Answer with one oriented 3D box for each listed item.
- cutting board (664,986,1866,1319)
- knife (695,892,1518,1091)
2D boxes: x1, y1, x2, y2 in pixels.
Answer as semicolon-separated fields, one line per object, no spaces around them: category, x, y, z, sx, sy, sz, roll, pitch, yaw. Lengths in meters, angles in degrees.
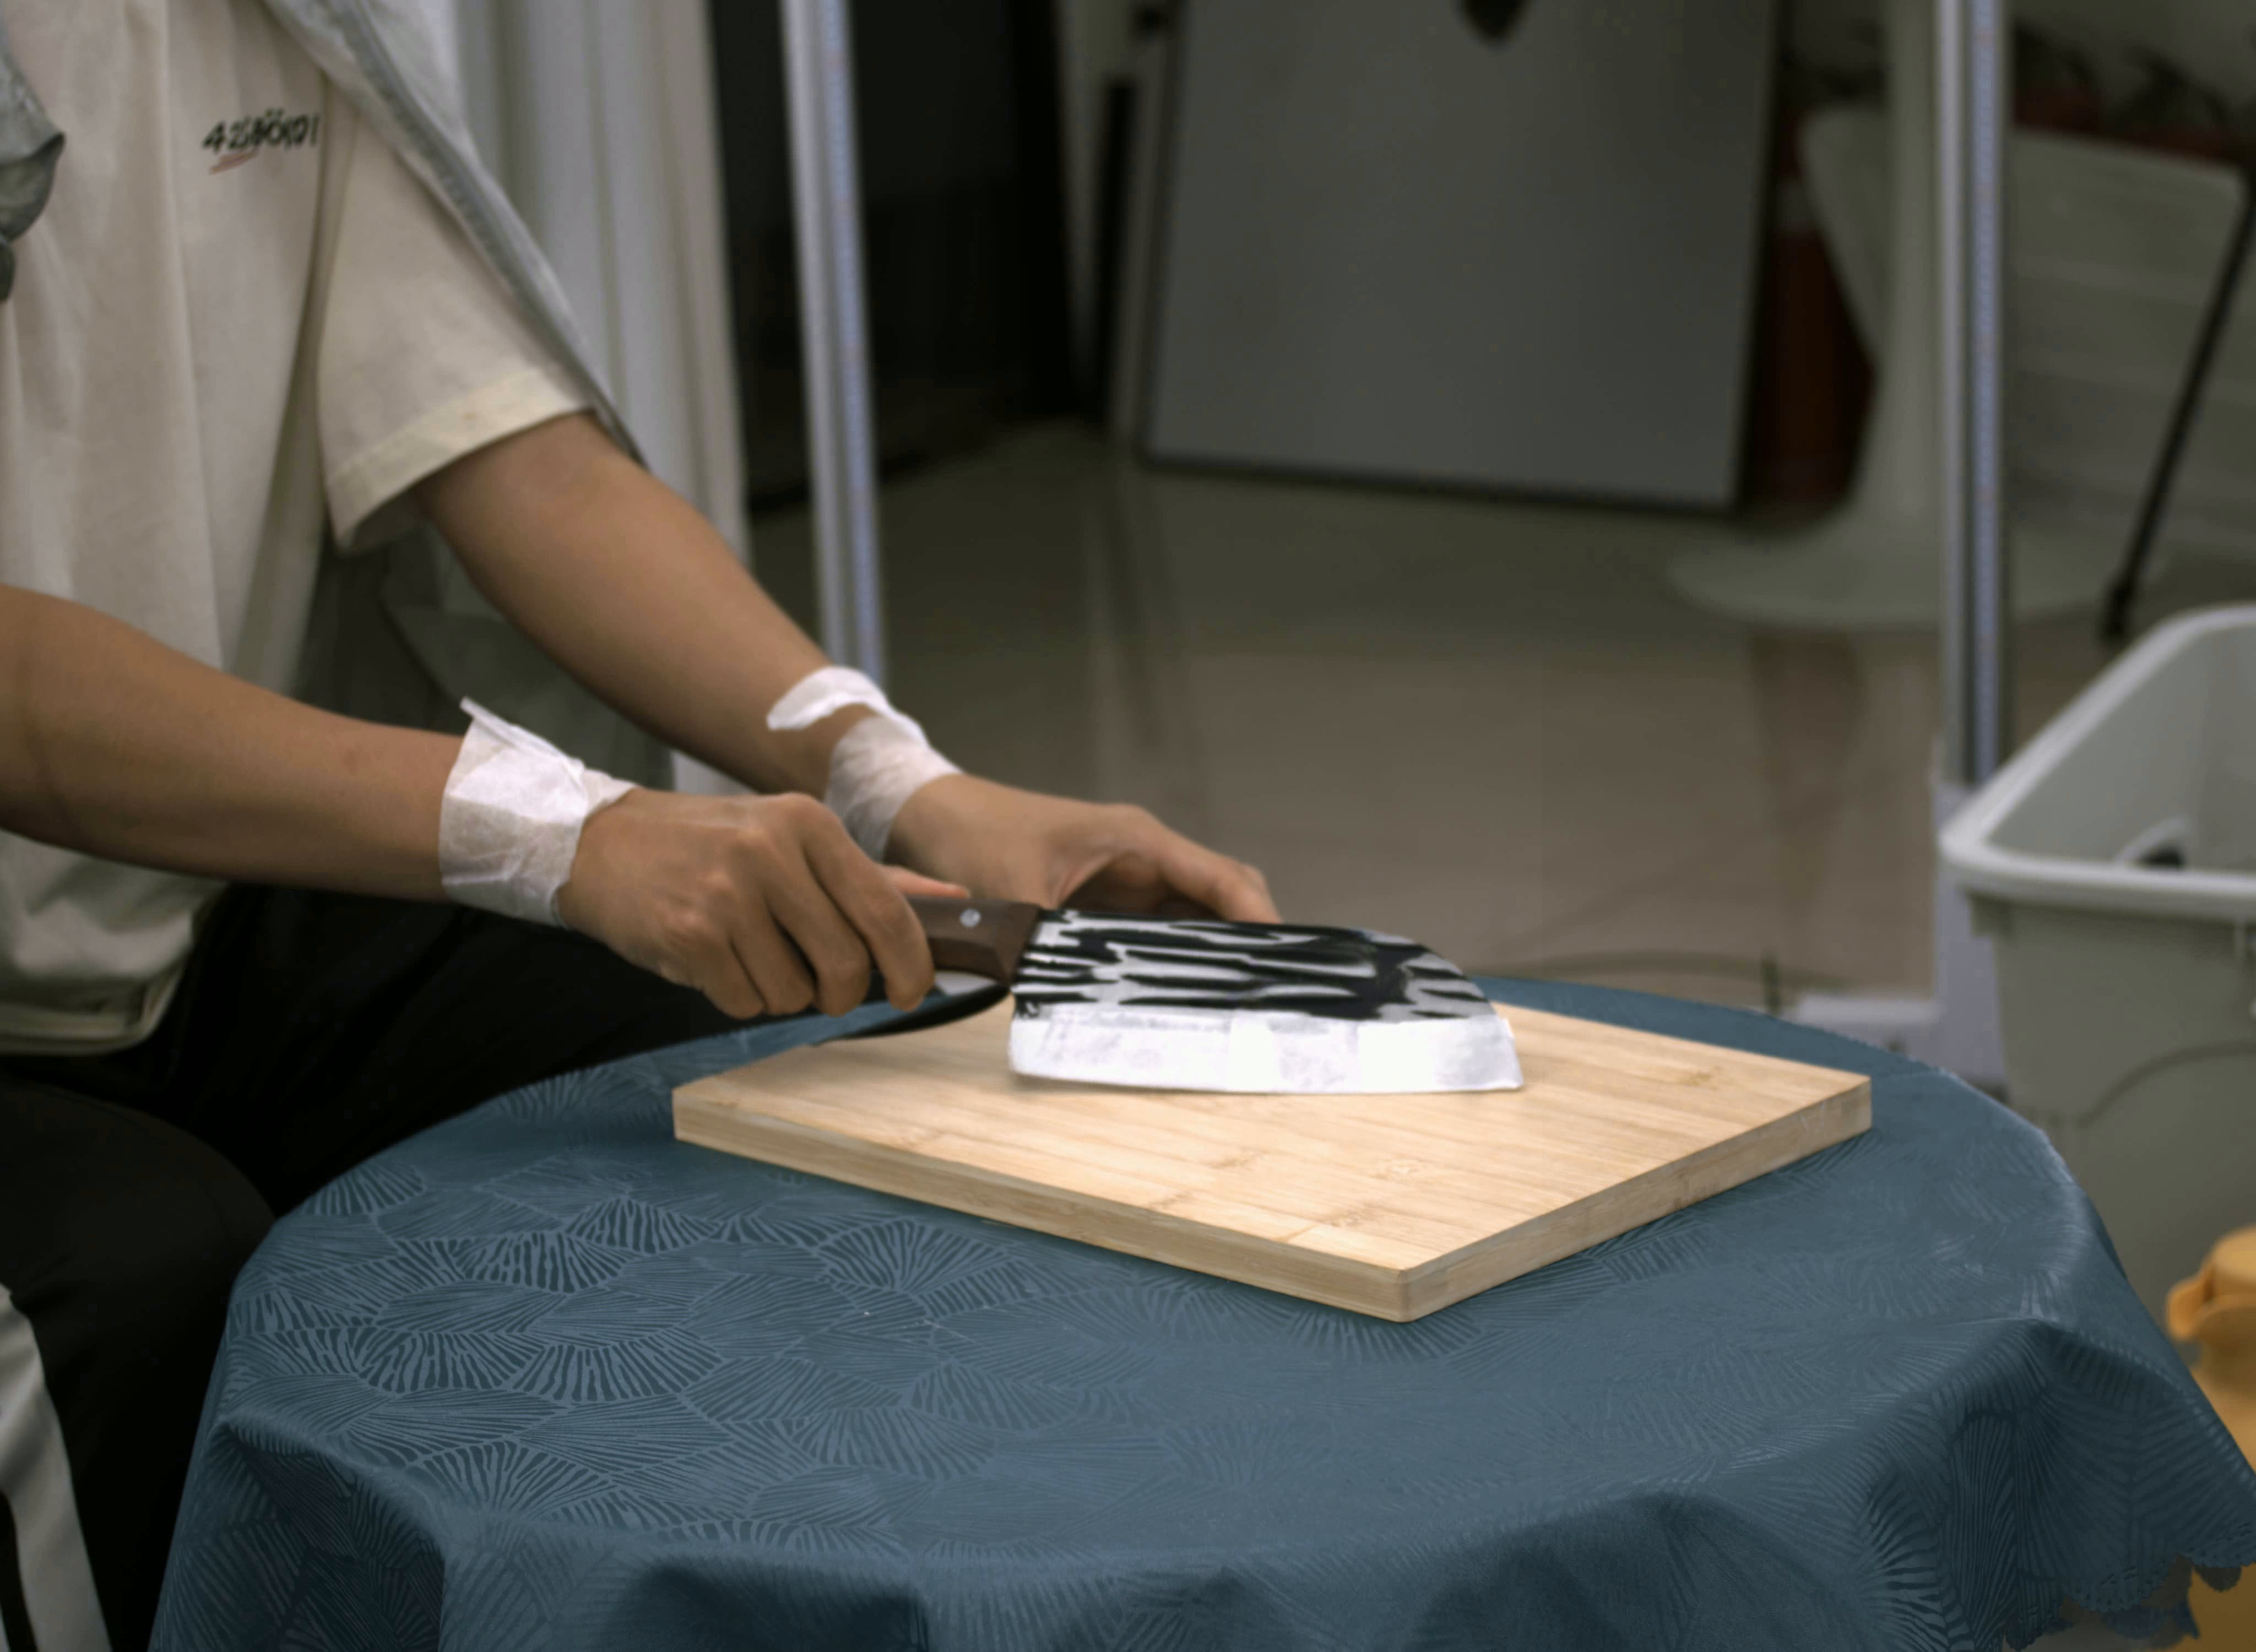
cutting board;0.042;0.097;1.828;0.352;0.024;0.245;9;19;43
knife;-0.010;0.058;1.842;0.298;0.024;0.068;4;58;14
